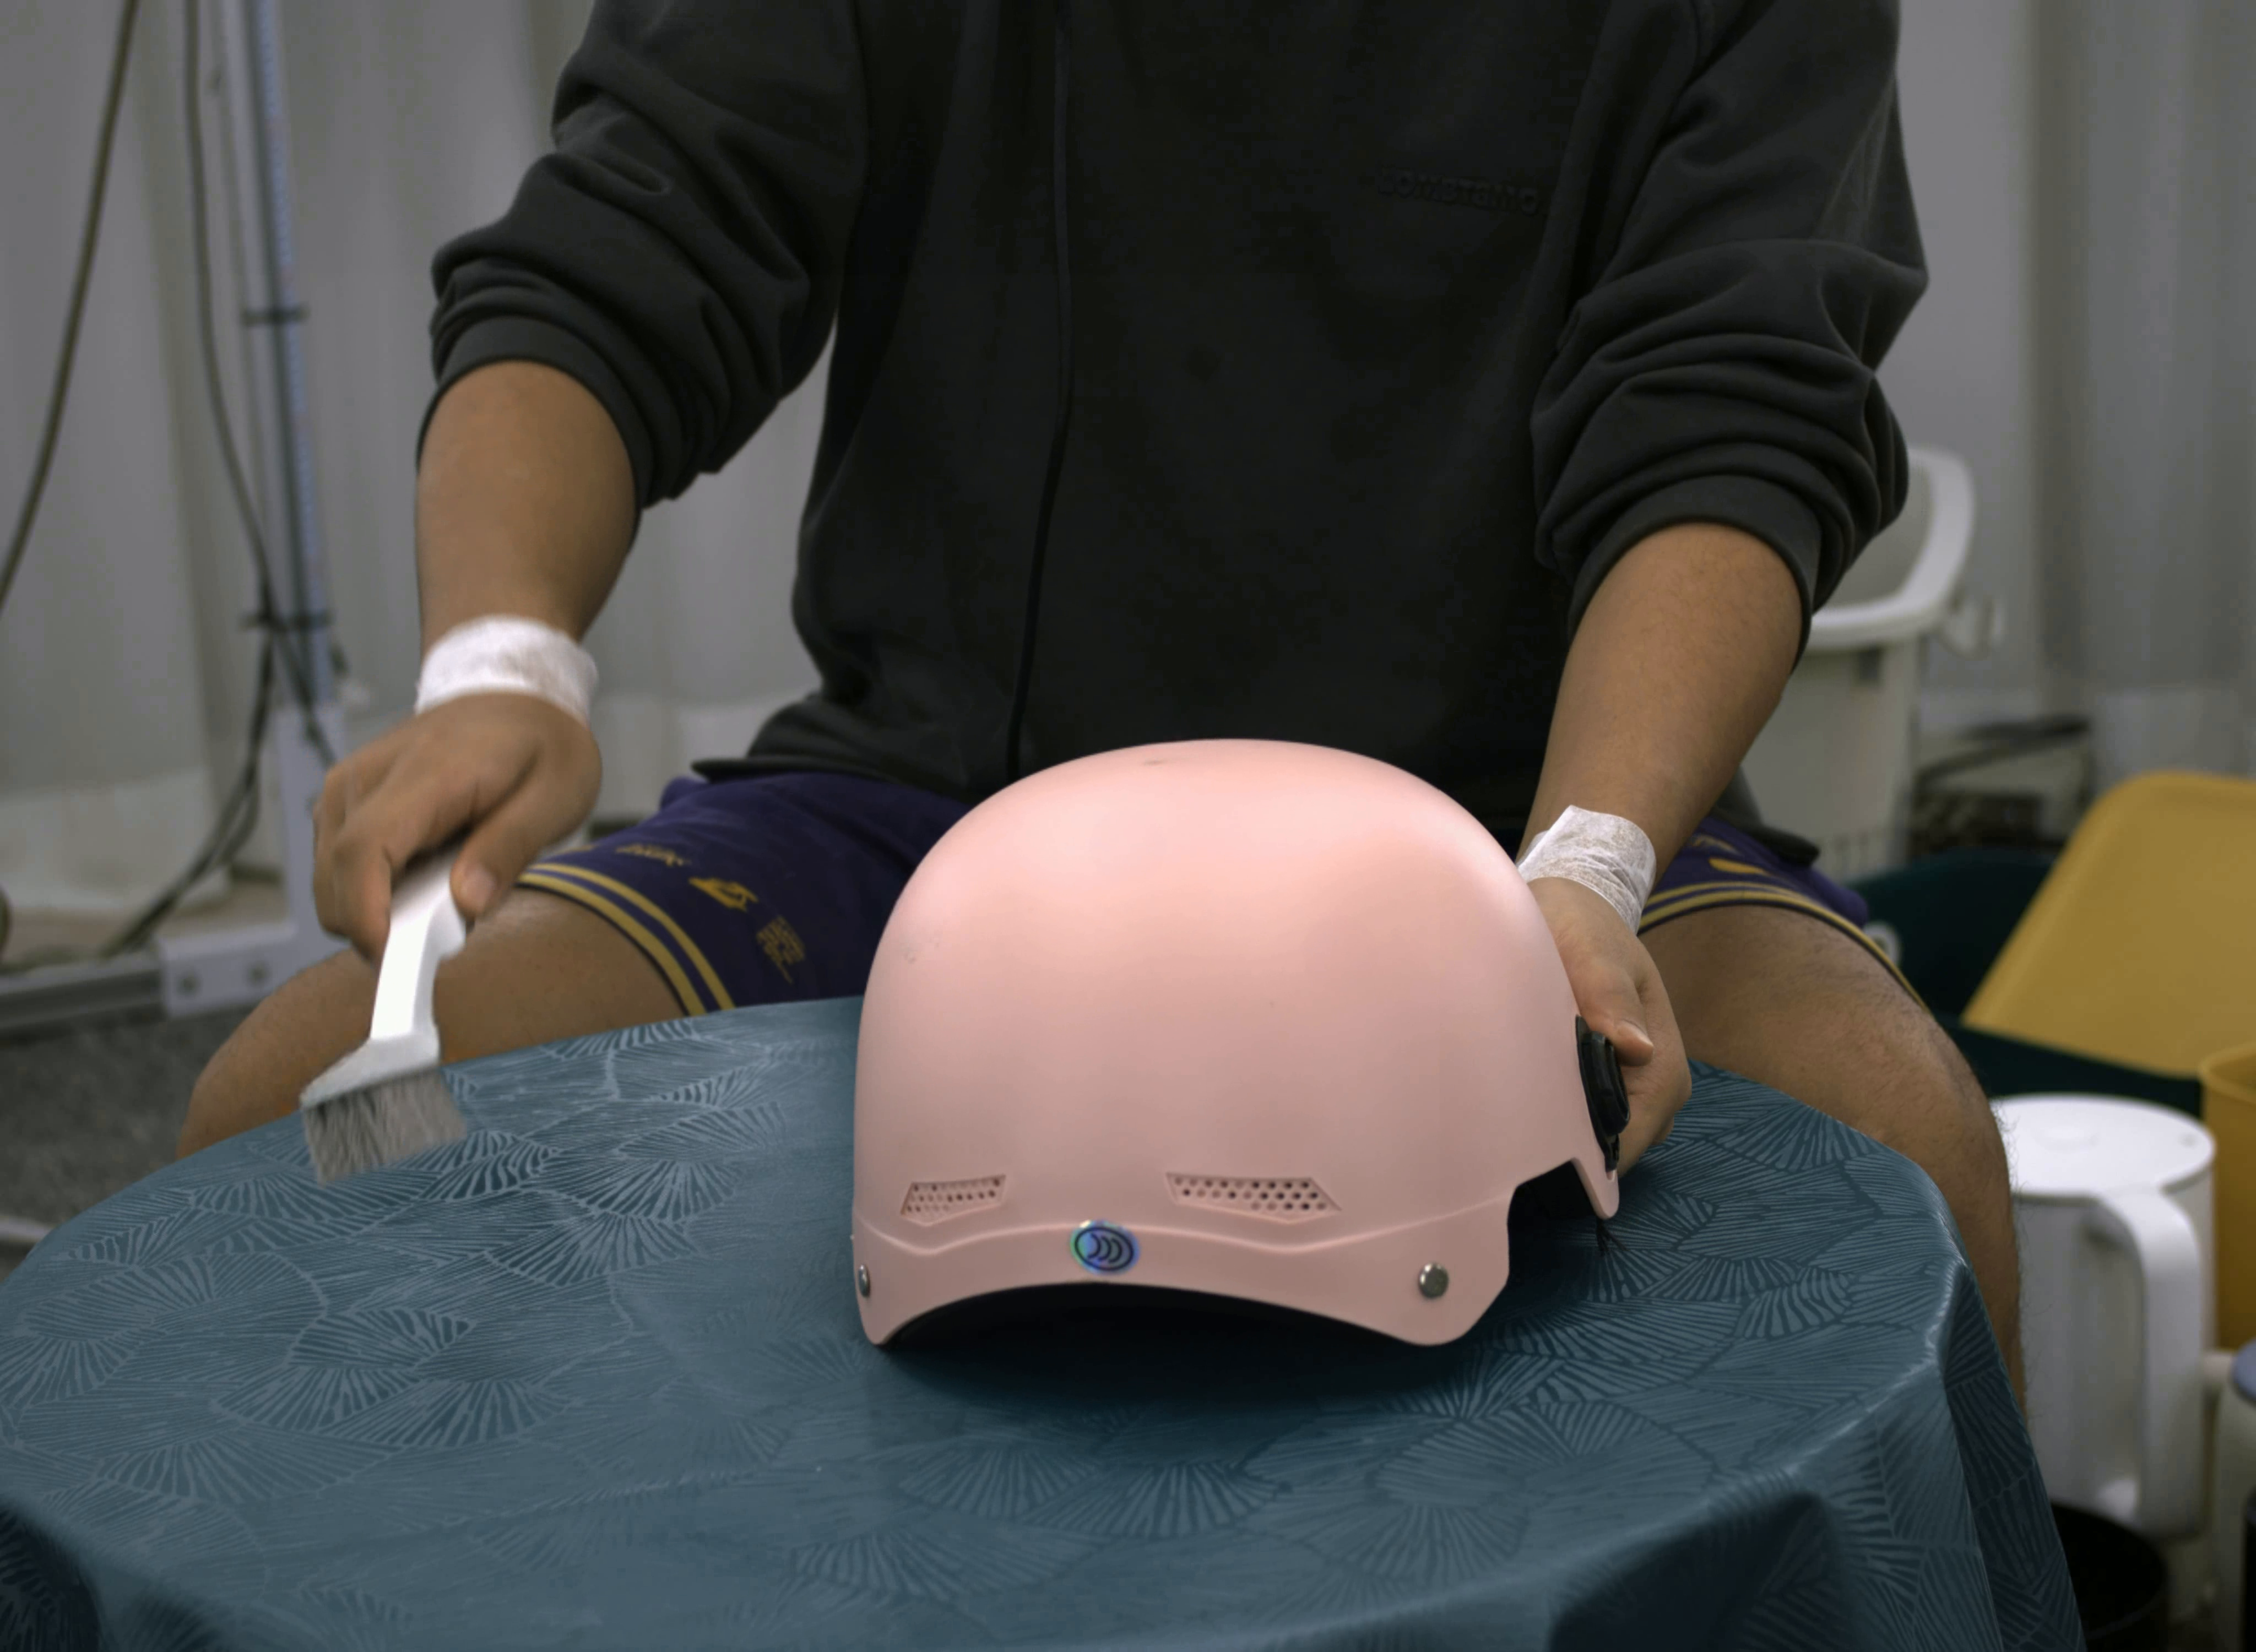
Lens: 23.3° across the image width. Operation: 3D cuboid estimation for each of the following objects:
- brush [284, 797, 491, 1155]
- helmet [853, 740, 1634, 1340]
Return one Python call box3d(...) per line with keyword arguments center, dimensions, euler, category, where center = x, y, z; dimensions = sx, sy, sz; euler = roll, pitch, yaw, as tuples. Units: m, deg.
box3d(center=(-0.215, 0.047, 1.670), dimensions=(0.034, 0.050, 0.245), euler=(-21, 15, 8), category="brush")
box3d(center=(0.028, 0.052, 1.632), dimensions=(0.234, 0.158, 0.266), euler=(-3, 10, 20), category="helmet")
